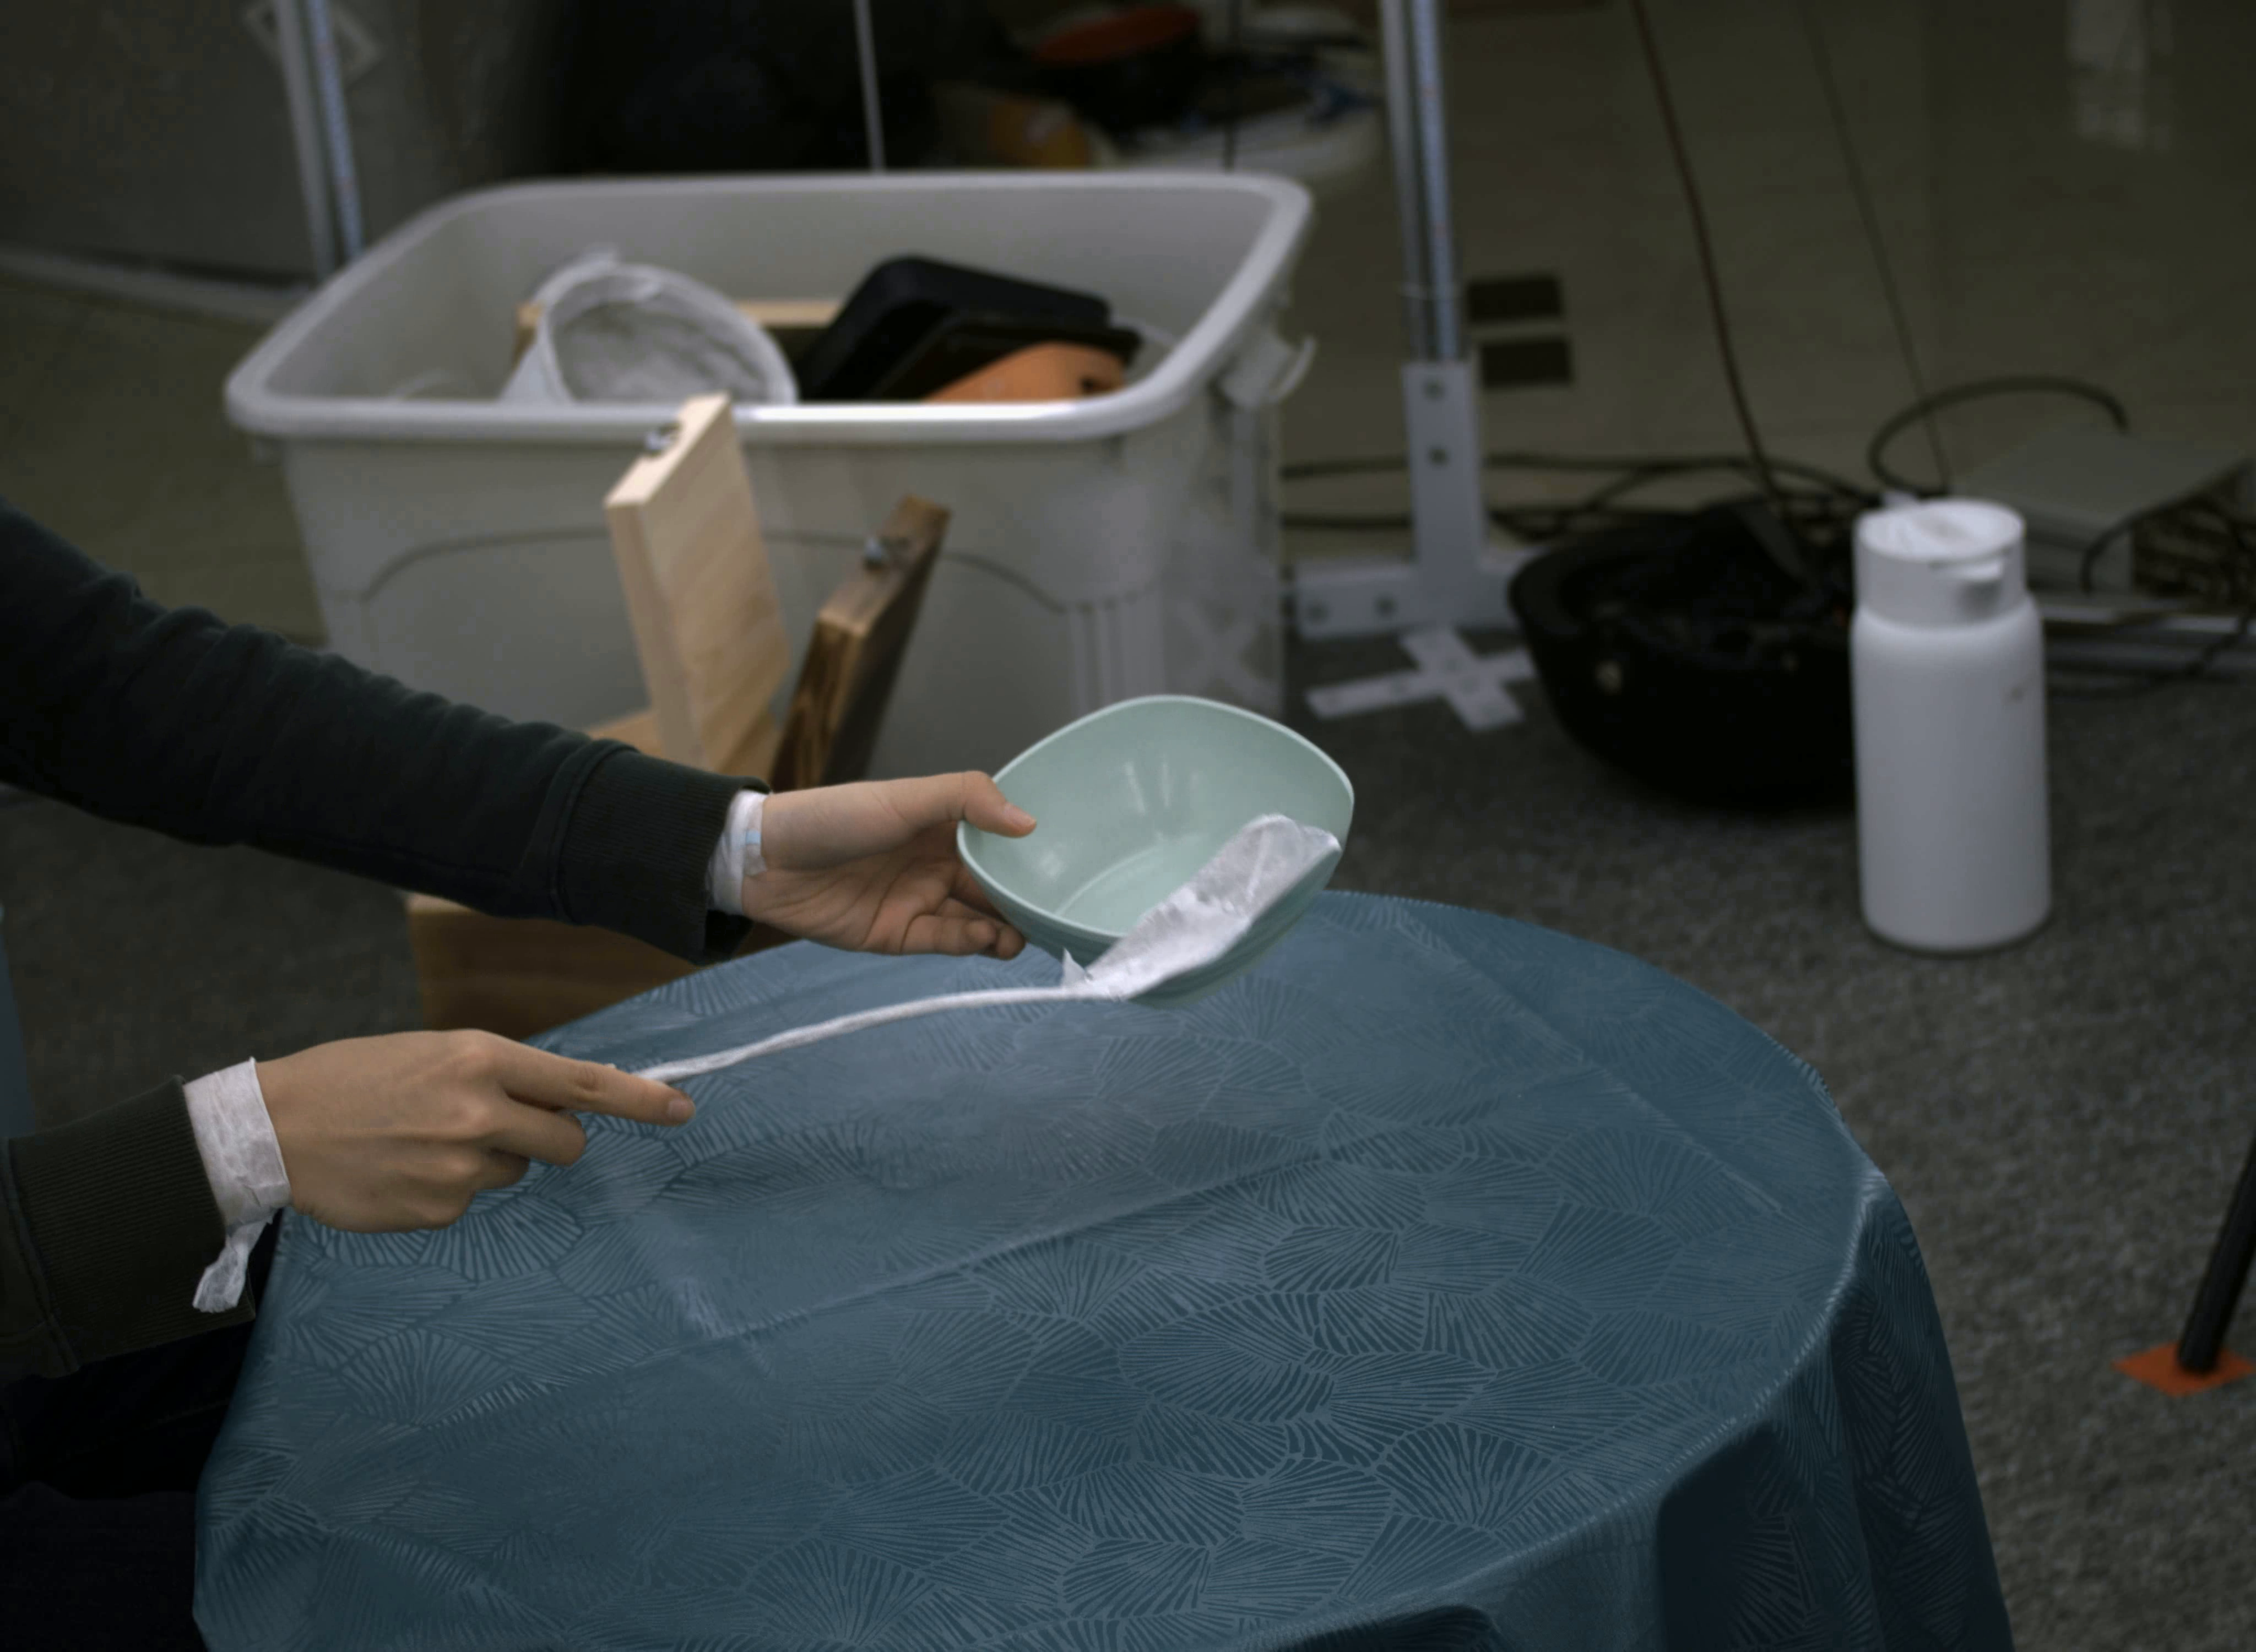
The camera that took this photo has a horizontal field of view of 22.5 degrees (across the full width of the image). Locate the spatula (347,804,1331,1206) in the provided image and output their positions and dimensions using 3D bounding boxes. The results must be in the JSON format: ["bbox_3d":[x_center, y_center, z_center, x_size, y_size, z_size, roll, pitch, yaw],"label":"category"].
[{"bbox_3d":[-0.100,0.063,1.970,0.364,0.045,0.098,-15,12,-10],"label":"spatula"}]

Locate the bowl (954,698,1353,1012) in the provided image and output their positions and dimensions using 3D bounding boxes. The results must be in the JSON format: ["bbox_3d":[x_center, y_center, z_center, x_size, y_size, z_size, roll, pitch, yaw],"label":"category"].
[{"bbox_3d":[0.012,0.018,2.153,0.151,0.060,0.149,-4,38,3],"label":"bowl"}]
